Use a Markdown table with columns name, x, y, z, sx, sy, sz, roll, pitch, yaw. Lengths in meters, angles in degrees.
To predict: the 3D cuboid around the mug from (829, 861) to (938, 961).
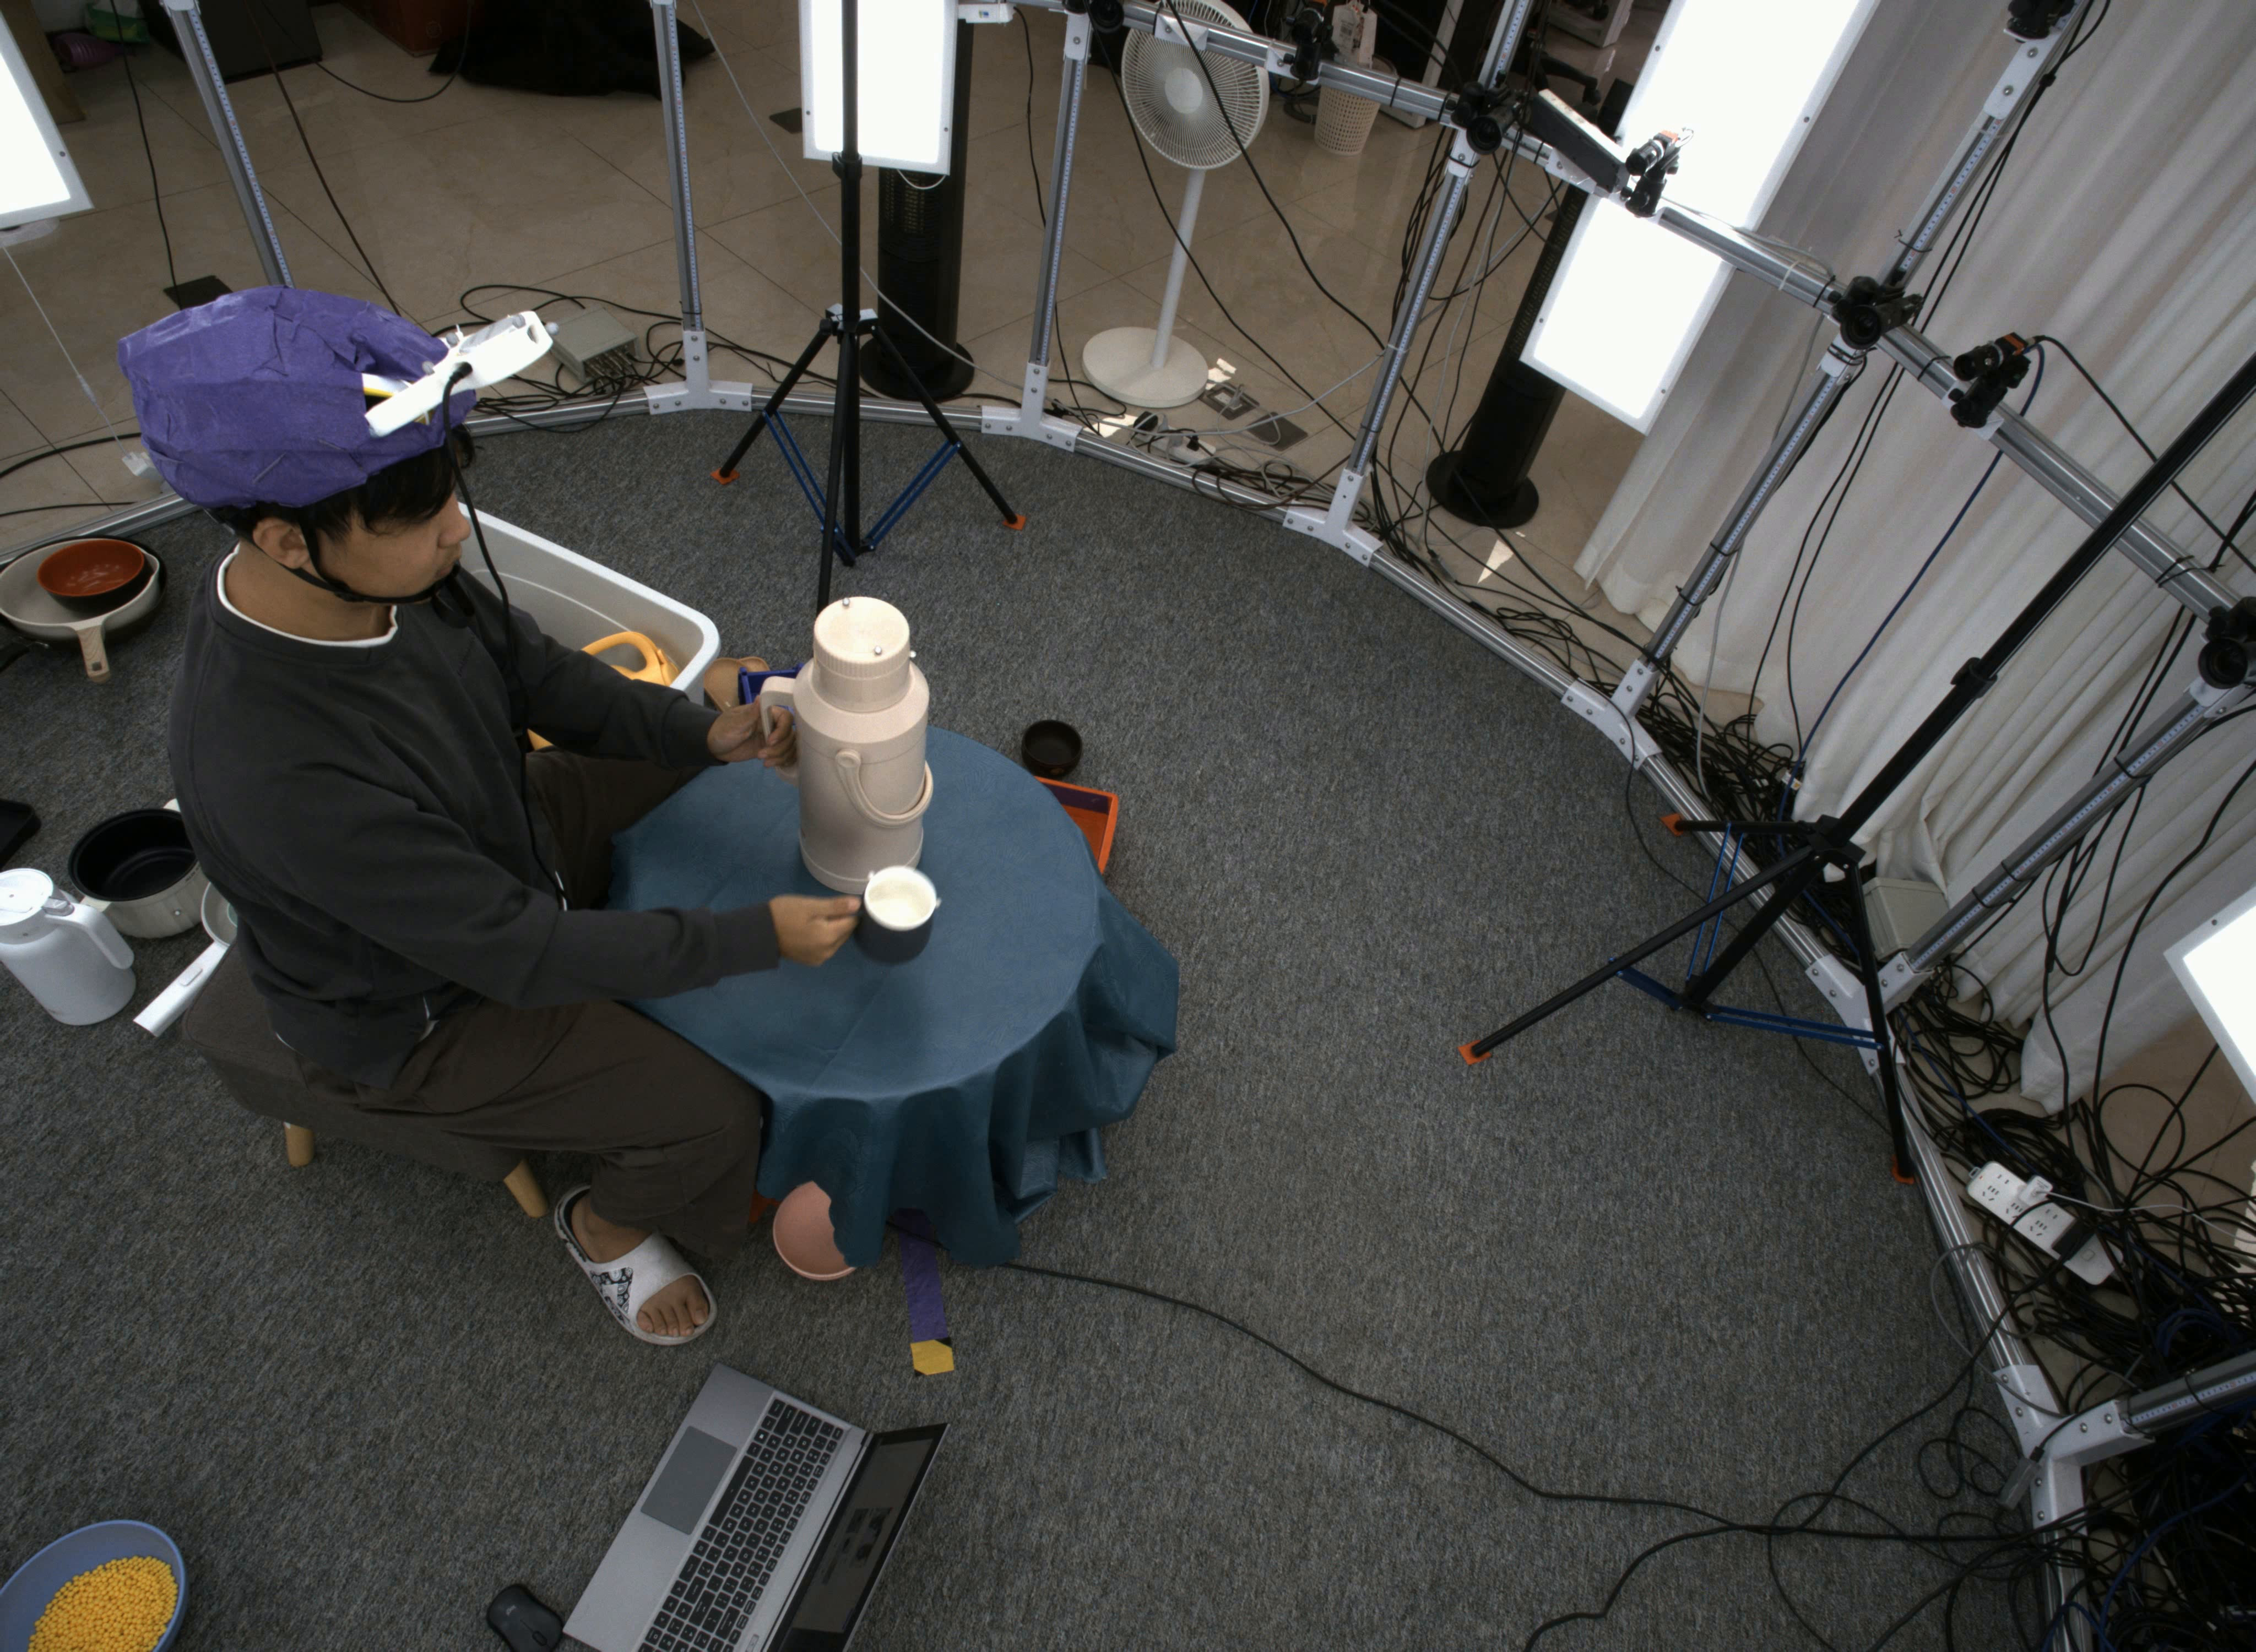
| name | x | y | z | sx | sy | sz | roll | pitch | yaw |
| --- | --- | --- | --- | --- | --- | --- | --- | --- | --- |
| mug | -0.280 | 0.096 | 1.485 | 0.124 | 0.091 | 0.092 | -5 | 61 | -24 |

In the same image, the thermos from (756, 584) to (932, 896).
| name | x | y | z | sx | sy | sz | roll | pitch | yaw |
| --- | --- | --- | --- | --- | --- | --- | --- | --- | --- |
| thermos | -0.337 | -0.101 | 1.561 | 0.206 | 0.415 | 0.172 | 7 | 51 | -6 |
